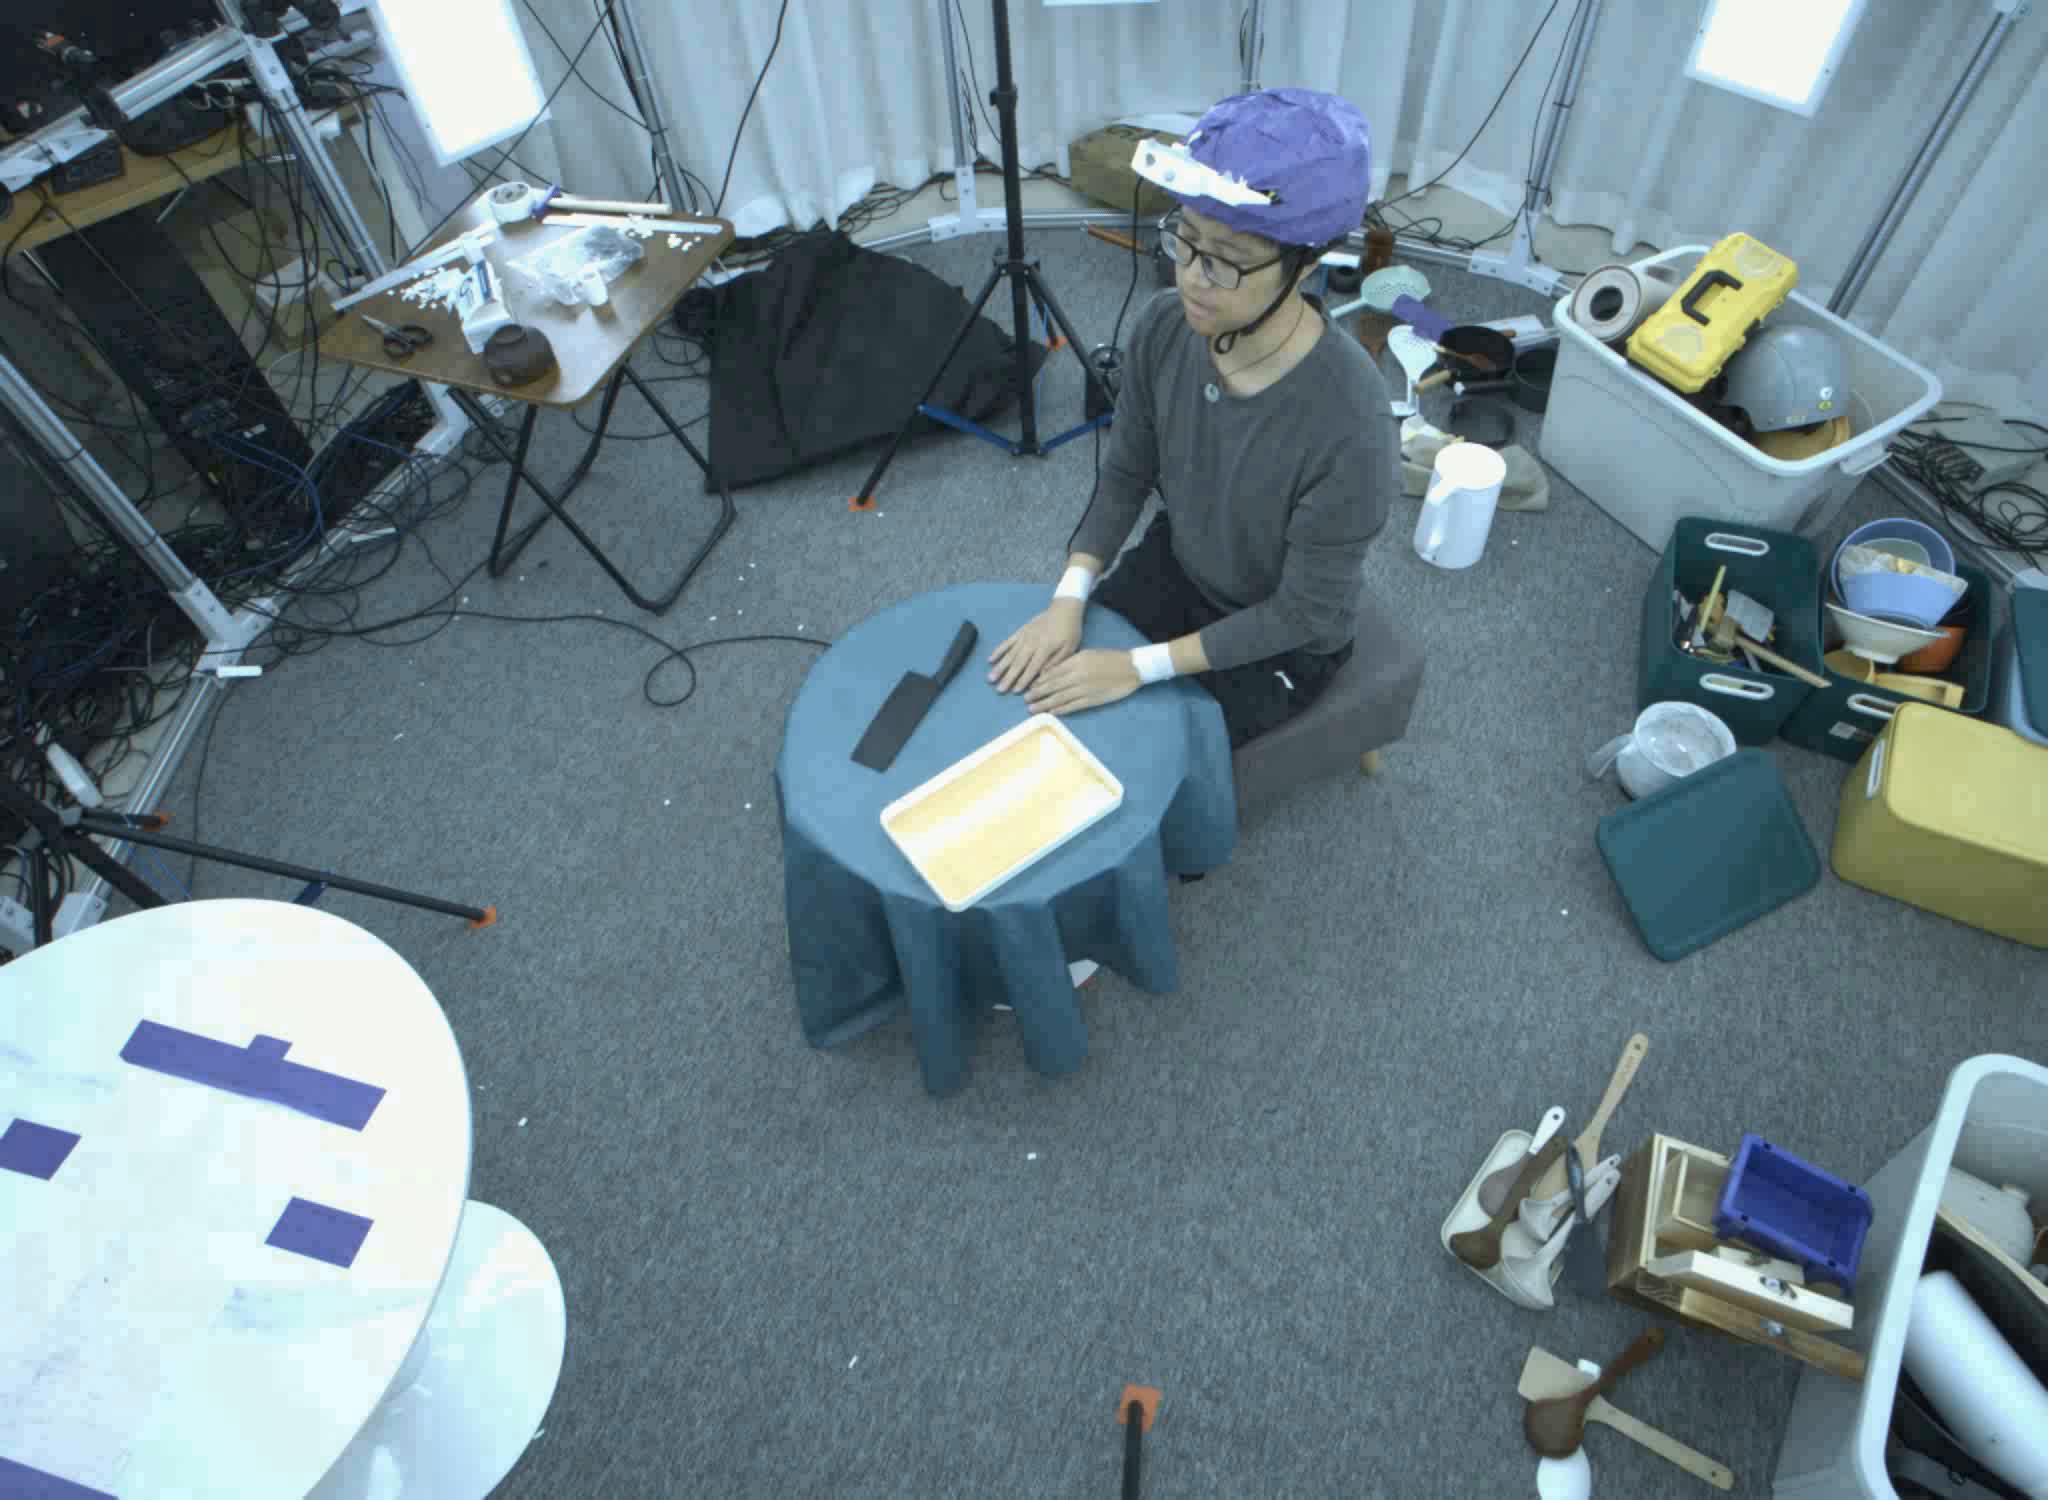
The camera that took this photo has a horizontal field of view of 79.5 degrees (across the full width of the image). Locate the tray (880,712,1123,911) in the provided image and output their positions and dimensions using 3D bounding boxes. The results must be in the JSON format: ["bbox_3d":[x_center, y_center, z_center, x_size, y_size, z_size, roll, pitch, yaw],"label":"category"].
[{"bbox_3d":[-0.030,0.080,1.722,0.303,0.028,0.188,-32,60,-20],"label":"tray"}]

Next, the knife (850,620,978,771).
[{"bbox_3d":[-0.161,-0.089,1.855,0.080,0.021,0.303,25,61,19],"label":"knife"}]
